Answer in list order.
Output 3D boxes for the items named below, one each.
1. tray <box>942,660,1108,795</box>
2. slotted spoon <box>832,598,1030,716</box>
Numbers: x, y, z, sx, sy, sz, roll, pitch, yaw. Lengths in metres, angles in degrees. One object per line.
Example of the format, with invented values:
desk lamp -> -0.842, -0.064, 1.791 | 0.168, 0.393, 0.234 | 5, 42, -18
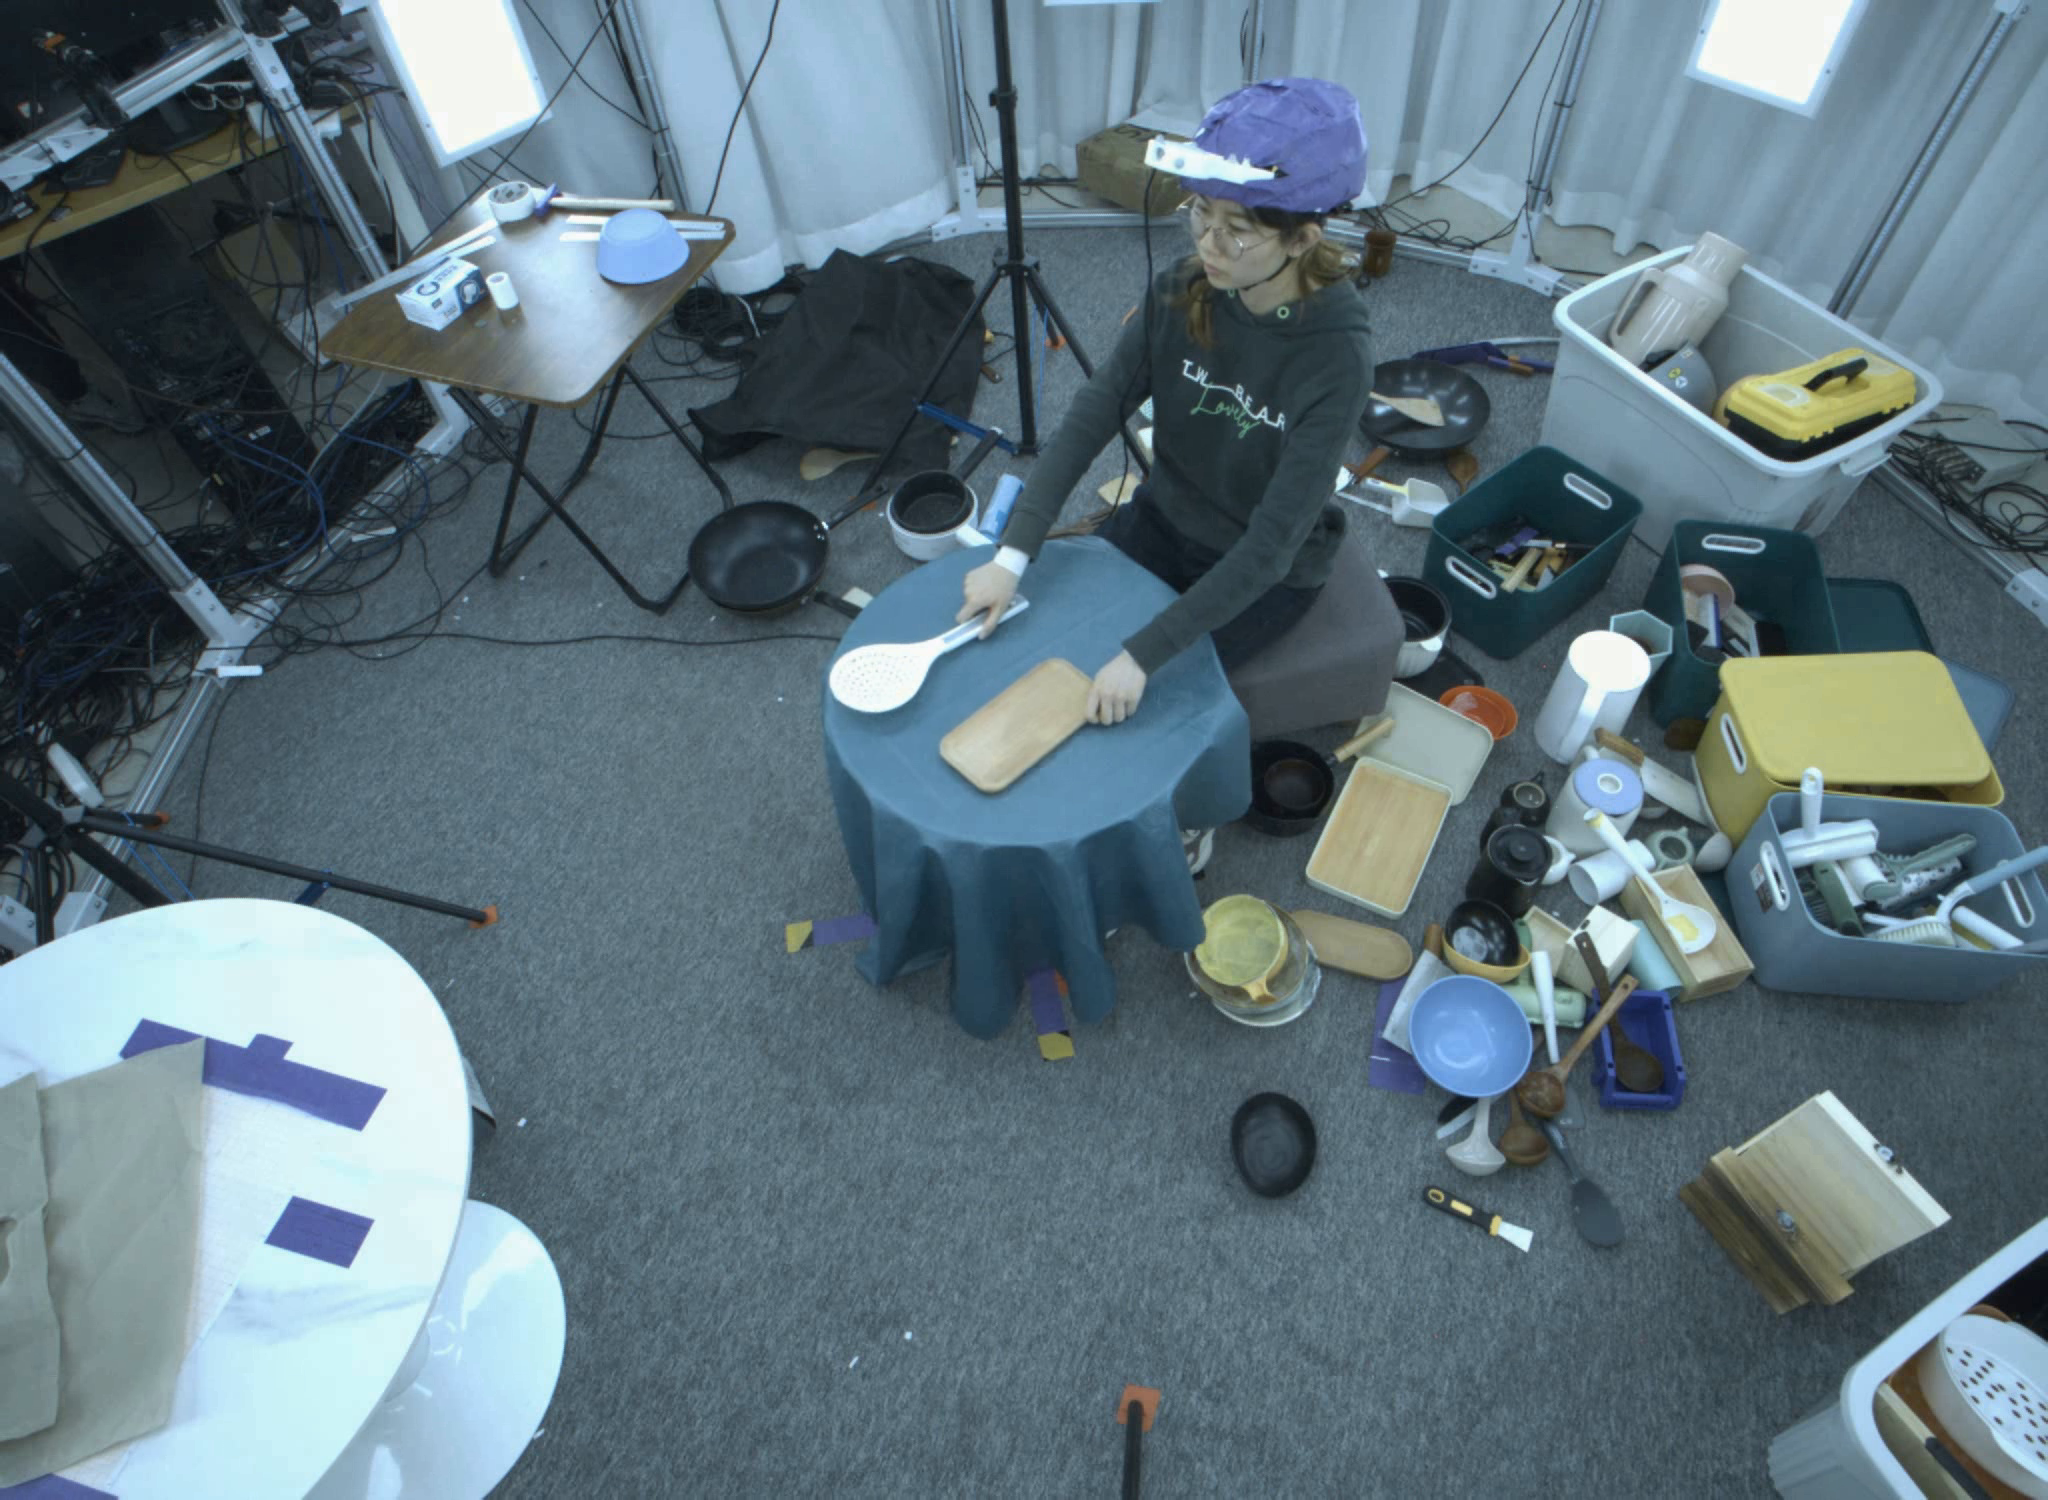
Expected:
tray -> 0.003, -0.035, 1.812 | 0.252, 0.023, 0.128 | -38, 64, -23
slotted spoon -> -0.135, -0.151, 1.880 | 0.352, 0.046, 0.133 | -34, 61, -21
